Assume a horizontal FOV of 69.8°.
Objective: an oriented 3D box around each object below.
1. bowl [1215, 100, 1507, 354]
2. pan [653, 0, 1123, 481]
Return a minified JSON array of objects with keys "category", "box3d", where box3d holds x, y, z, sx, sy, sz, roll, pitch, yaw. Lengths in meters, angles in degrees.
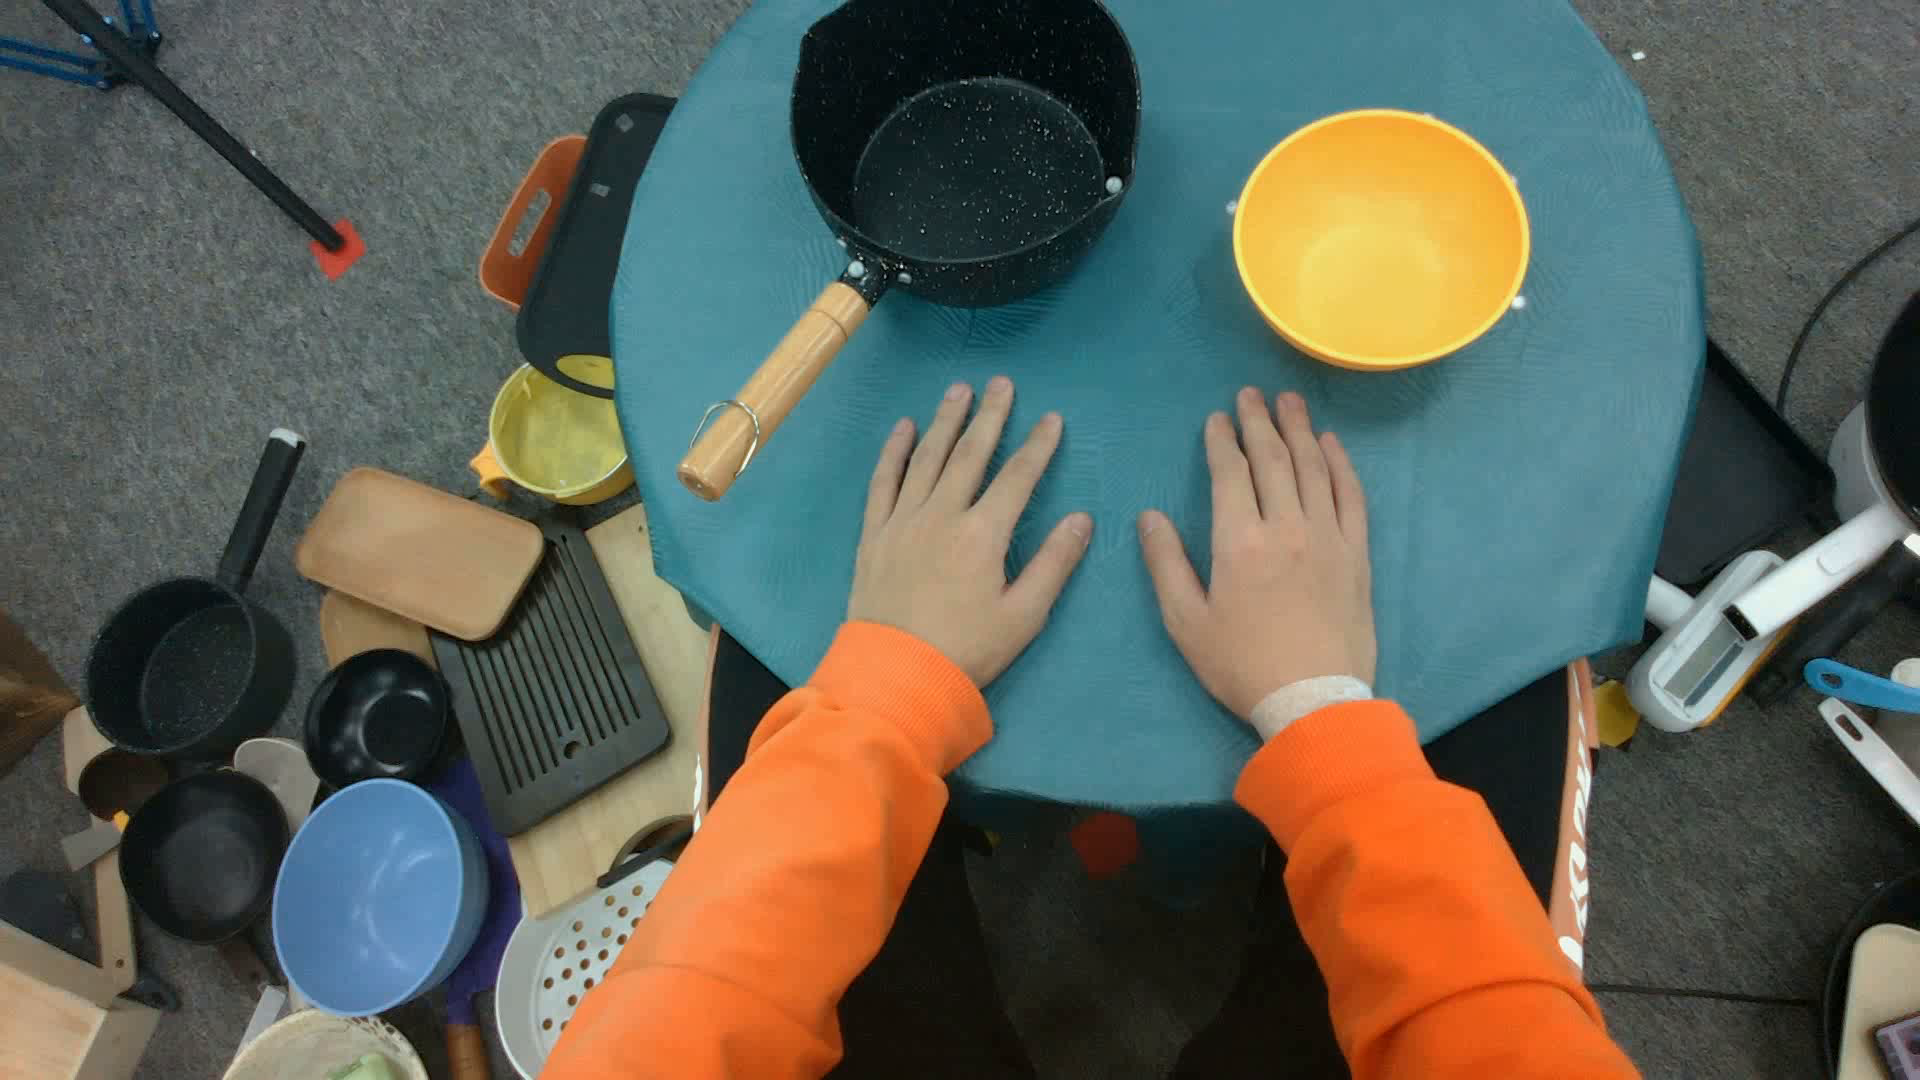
[{"category":"bowl","box3d":[0.207,-0.155,0.727,0.145,0.060,0.145,-2,72,6]},{"category":"pan","box3d":[-0.045,-0.159,0.727,0.207,0.108,0.343,27,76,12]}]
